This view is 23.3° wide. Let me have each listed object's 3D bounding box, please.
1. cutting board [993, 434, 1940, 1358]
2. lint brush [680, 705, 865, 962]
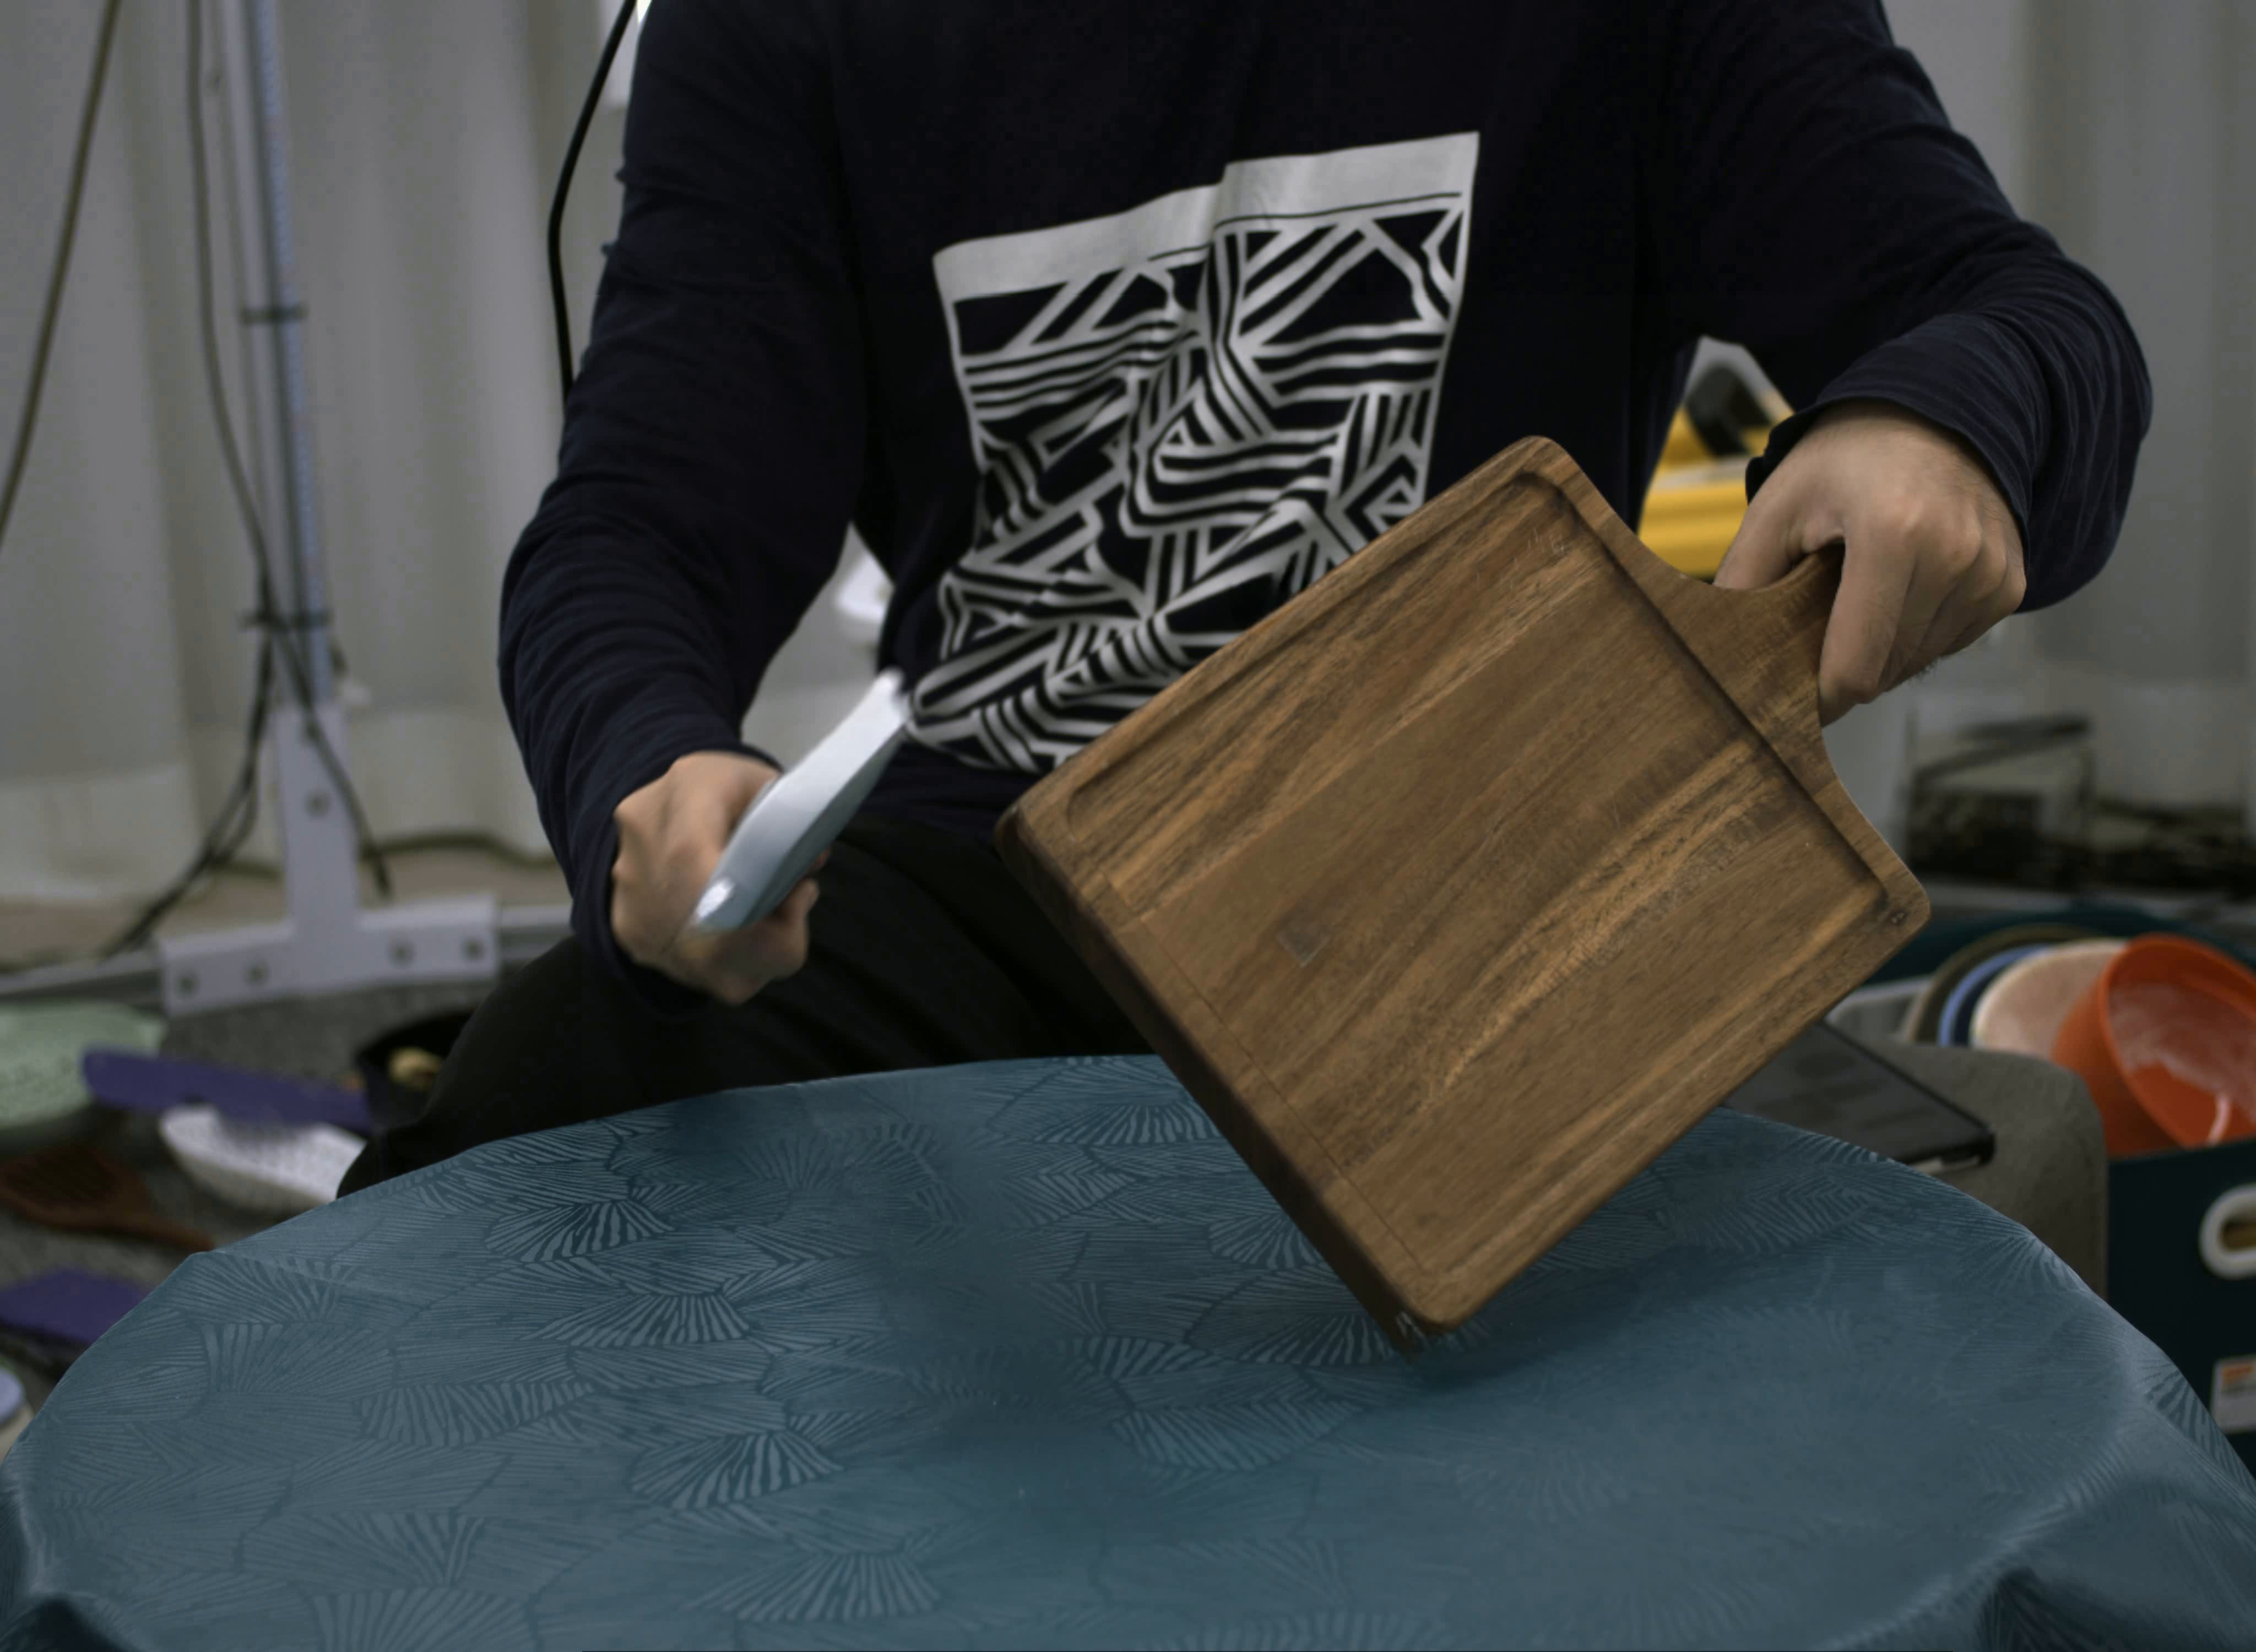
[{"bbox_3d":[0.137,-0.009,1.647,0.353,0.202,0.023,-36,-7,-36],"label":"cutting board"},{"bbox_3d":[-0.112,0.009,1.649,0.021,0.060,0.308,37,-12,-1],"label":"lint brush"}]
